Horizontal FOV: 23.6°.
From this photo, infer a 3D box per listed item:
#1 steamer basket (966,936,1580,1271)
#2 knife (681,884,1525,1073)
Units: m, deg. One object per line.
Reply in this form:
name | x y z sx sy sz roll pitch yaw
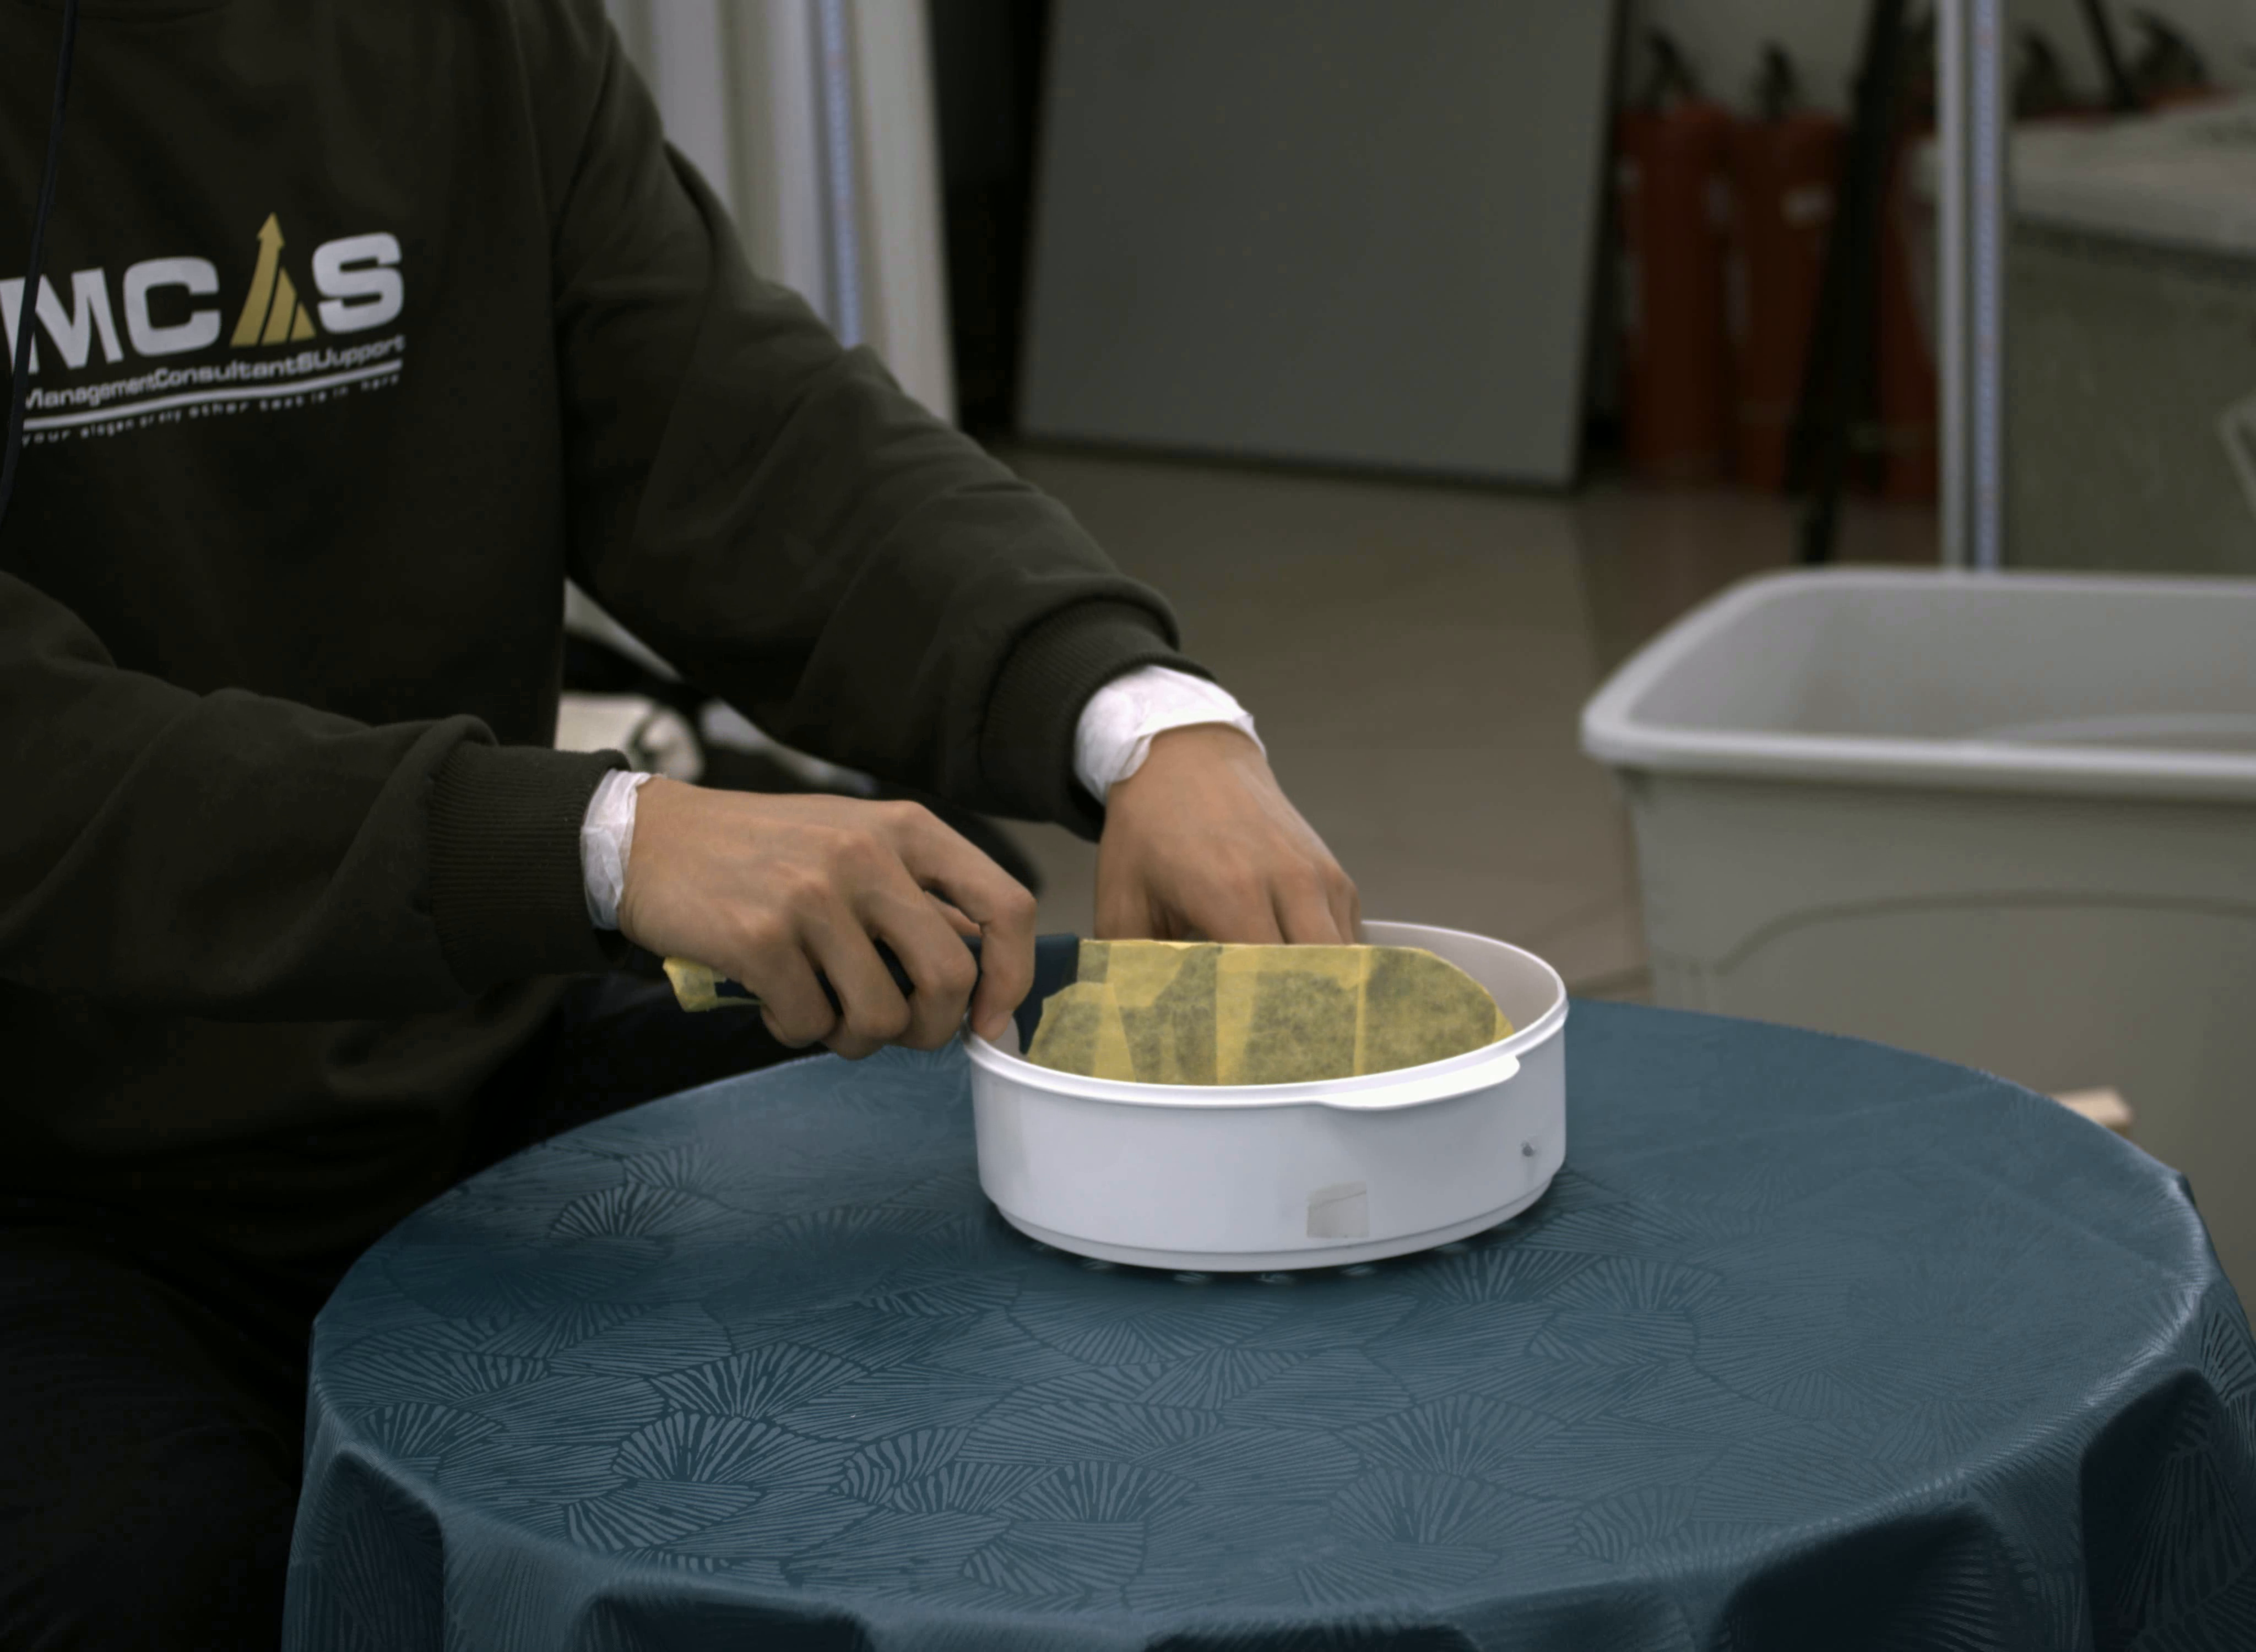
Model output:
steamer basket | 0.049 0.090 1.748 0.197 0.070 0.233 -10 13 -26
knife | -0.005 0.060 1.750 0.286 0.082 0.027 8 6 2
